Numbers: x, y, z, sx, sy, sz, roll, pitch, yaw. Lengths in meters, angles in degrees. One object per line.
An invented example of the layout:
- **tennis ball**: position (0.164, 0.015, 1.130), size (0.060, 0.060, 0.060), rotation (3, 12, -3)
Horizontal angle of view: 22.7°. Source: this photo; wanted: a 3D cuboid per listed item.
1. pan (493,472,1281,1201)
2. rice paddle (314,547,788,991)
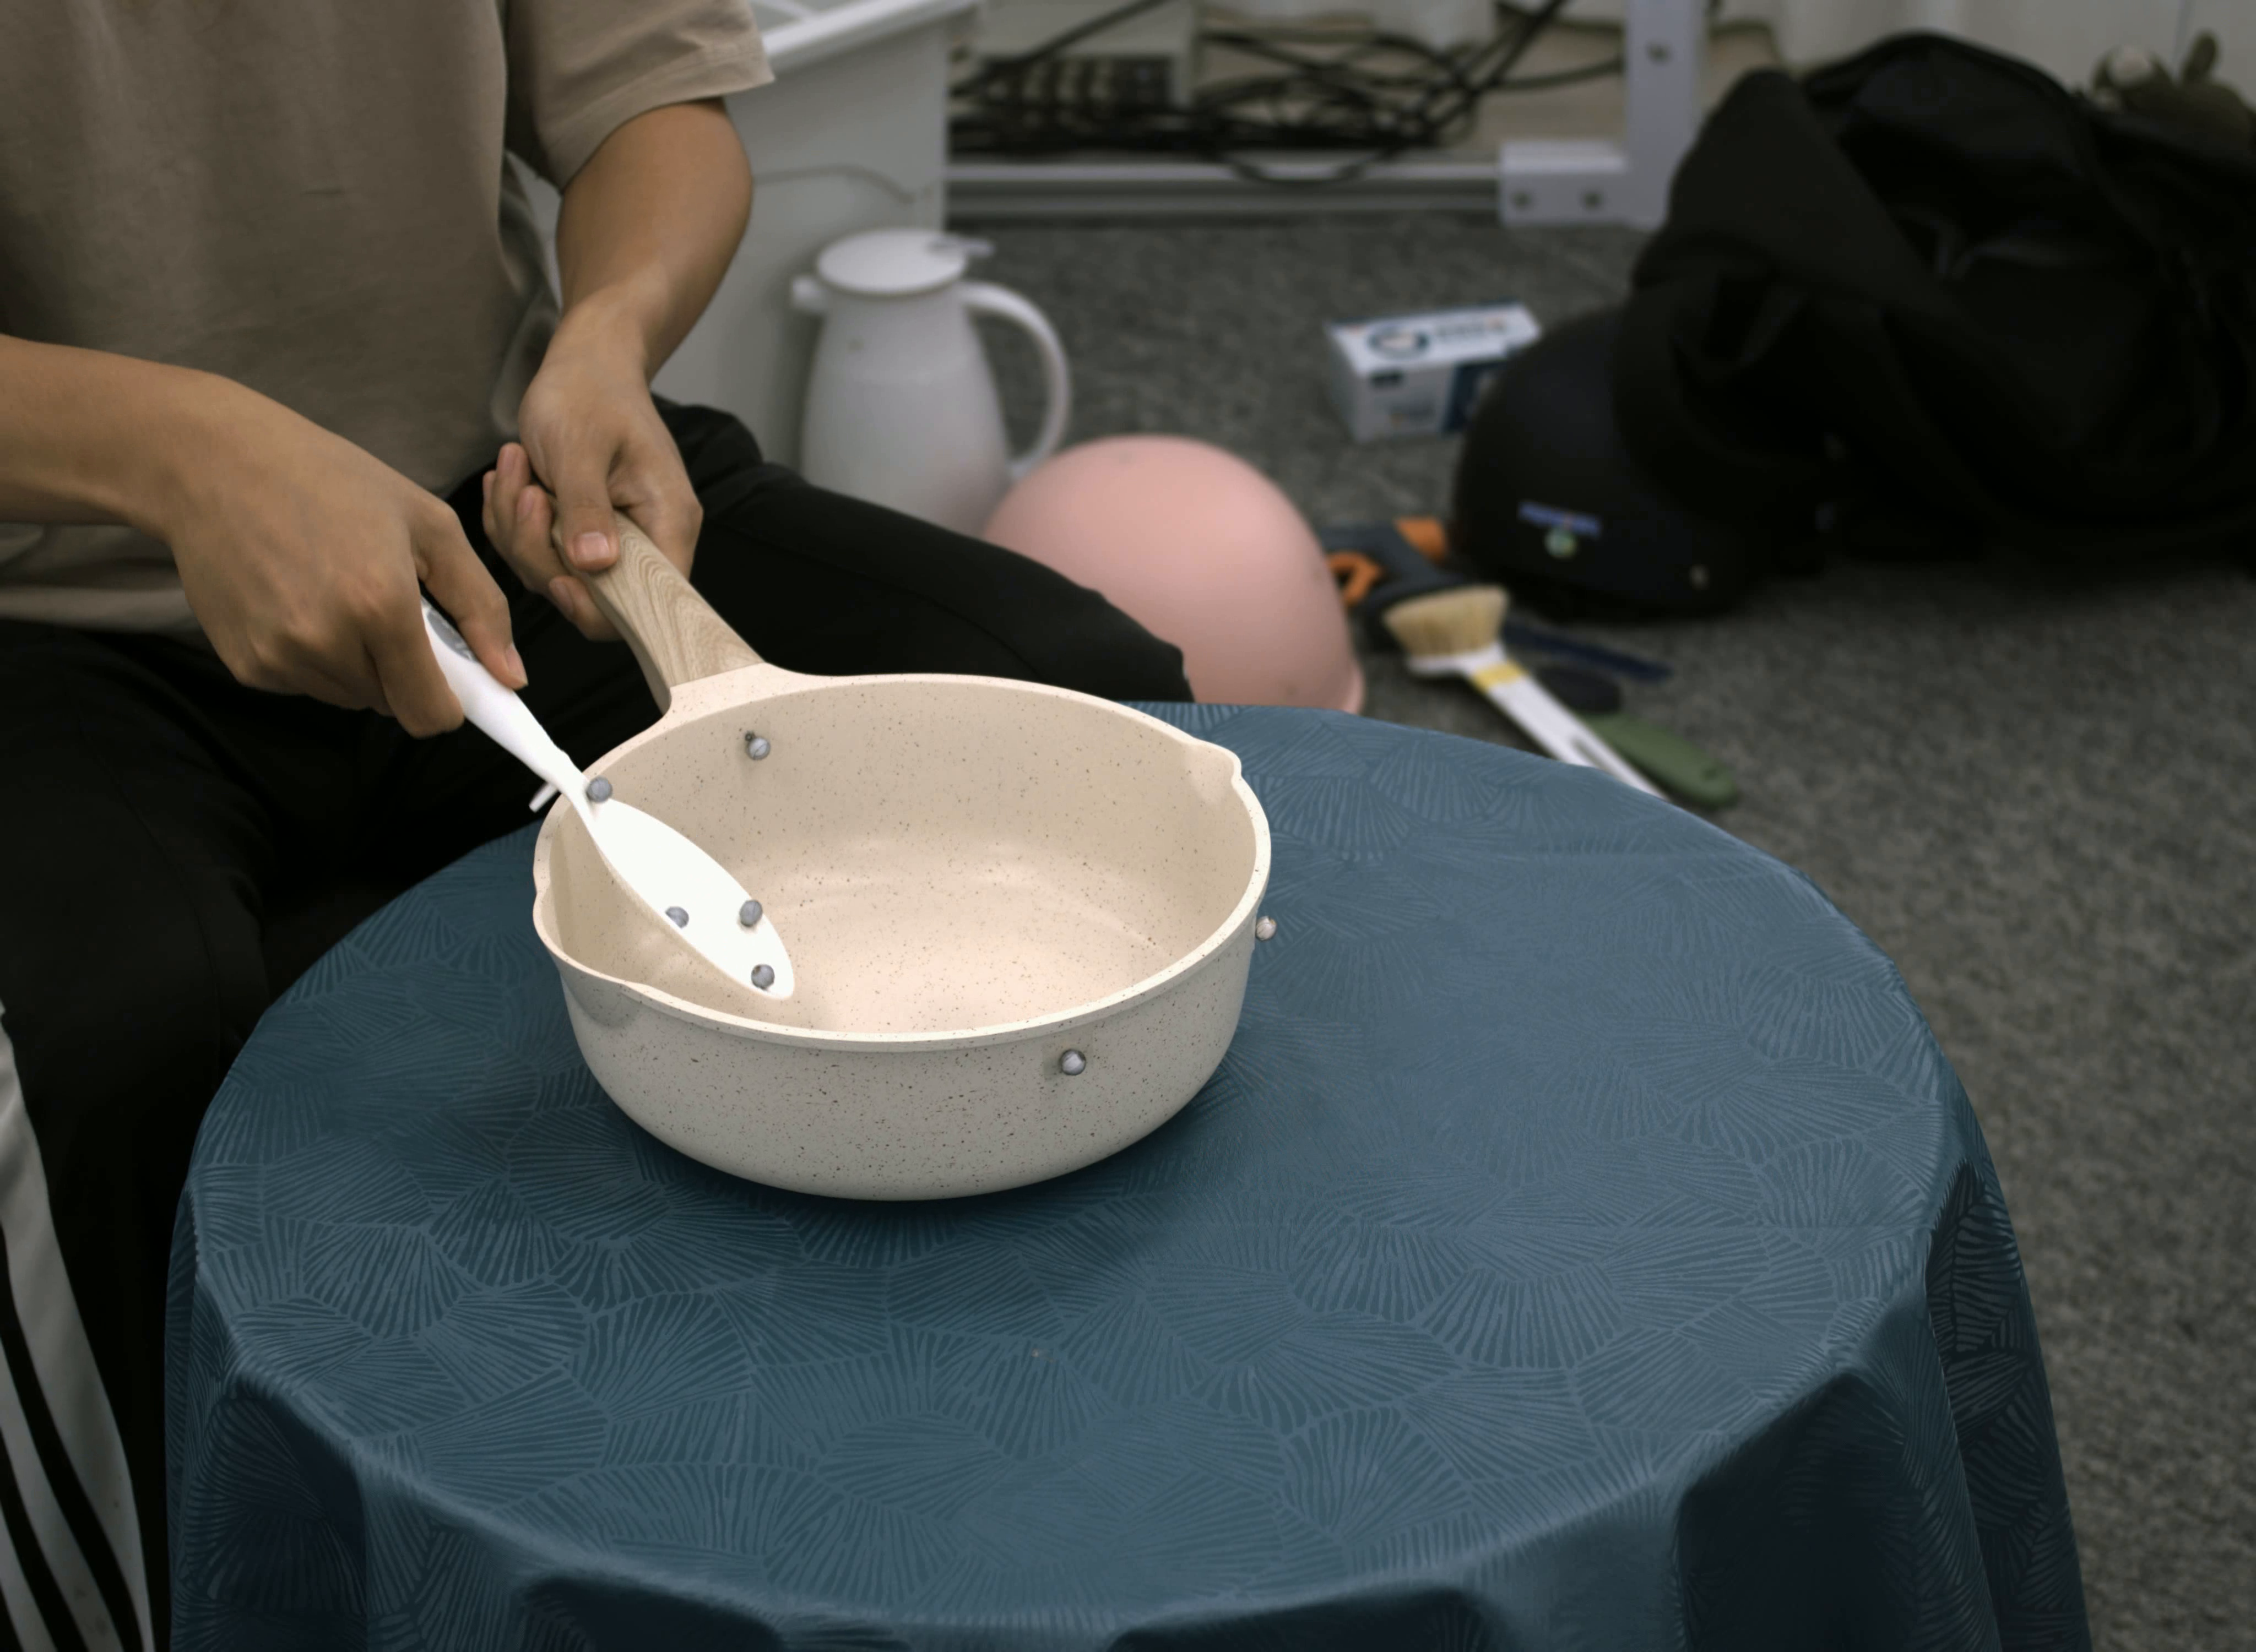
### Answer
- **pan**: position (-0.117, -0.002, 1.995), size (0.265, 0.101, 0.437), rotation (-18, 33, -25)
- **rice paddle**: position (-0.189, -0.016, 1.904), size (0.204, 0.029, 0.069), rotation (42, 18, -10)
